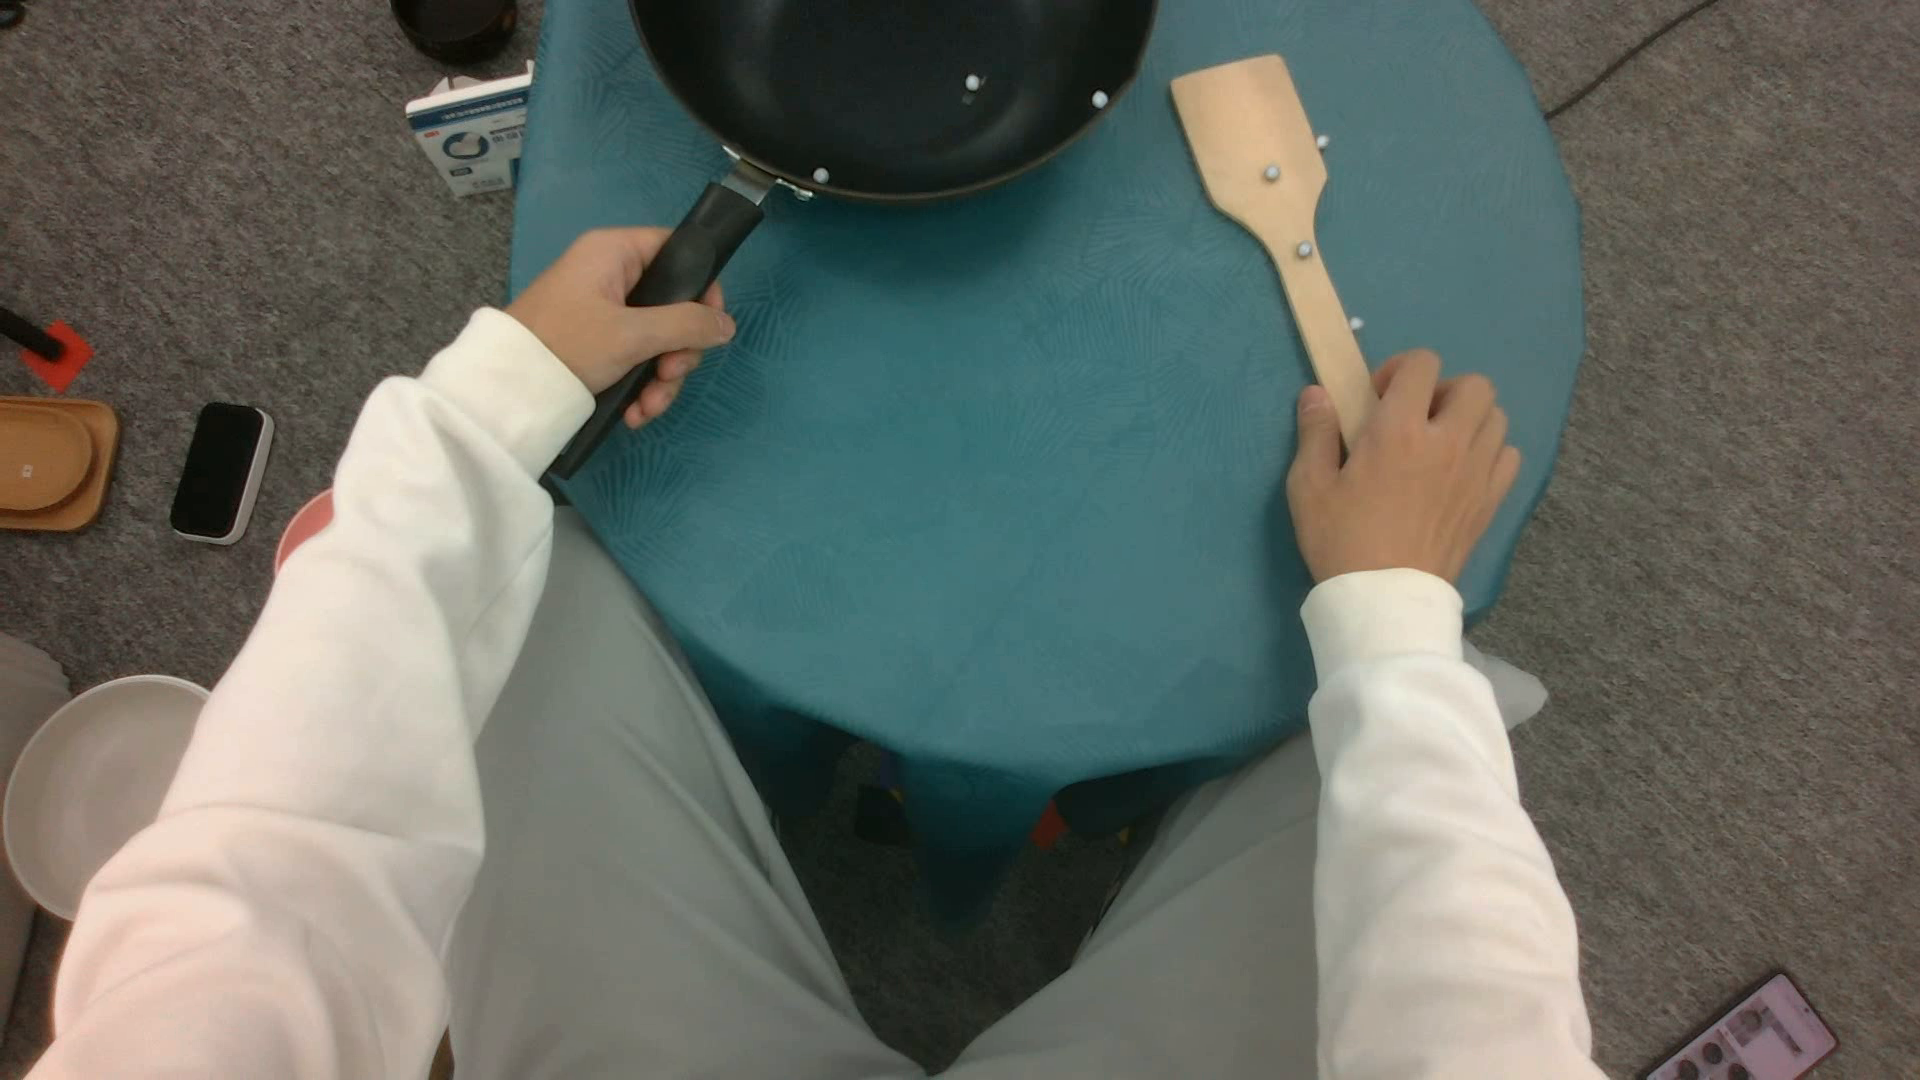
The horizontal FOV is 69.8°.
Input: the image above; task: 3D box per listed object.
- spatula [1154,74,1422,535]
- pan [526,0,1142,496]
[{"bbox_3d":[0.192,-0.136,0.775,0.072,0.010,0.293,-17,73,-6],"label":"spatula"},{"bbox_3d":[-0.086,-0.212,0.758,0.288,0.086,0.464,27,77,8],"label":"pan"}]
